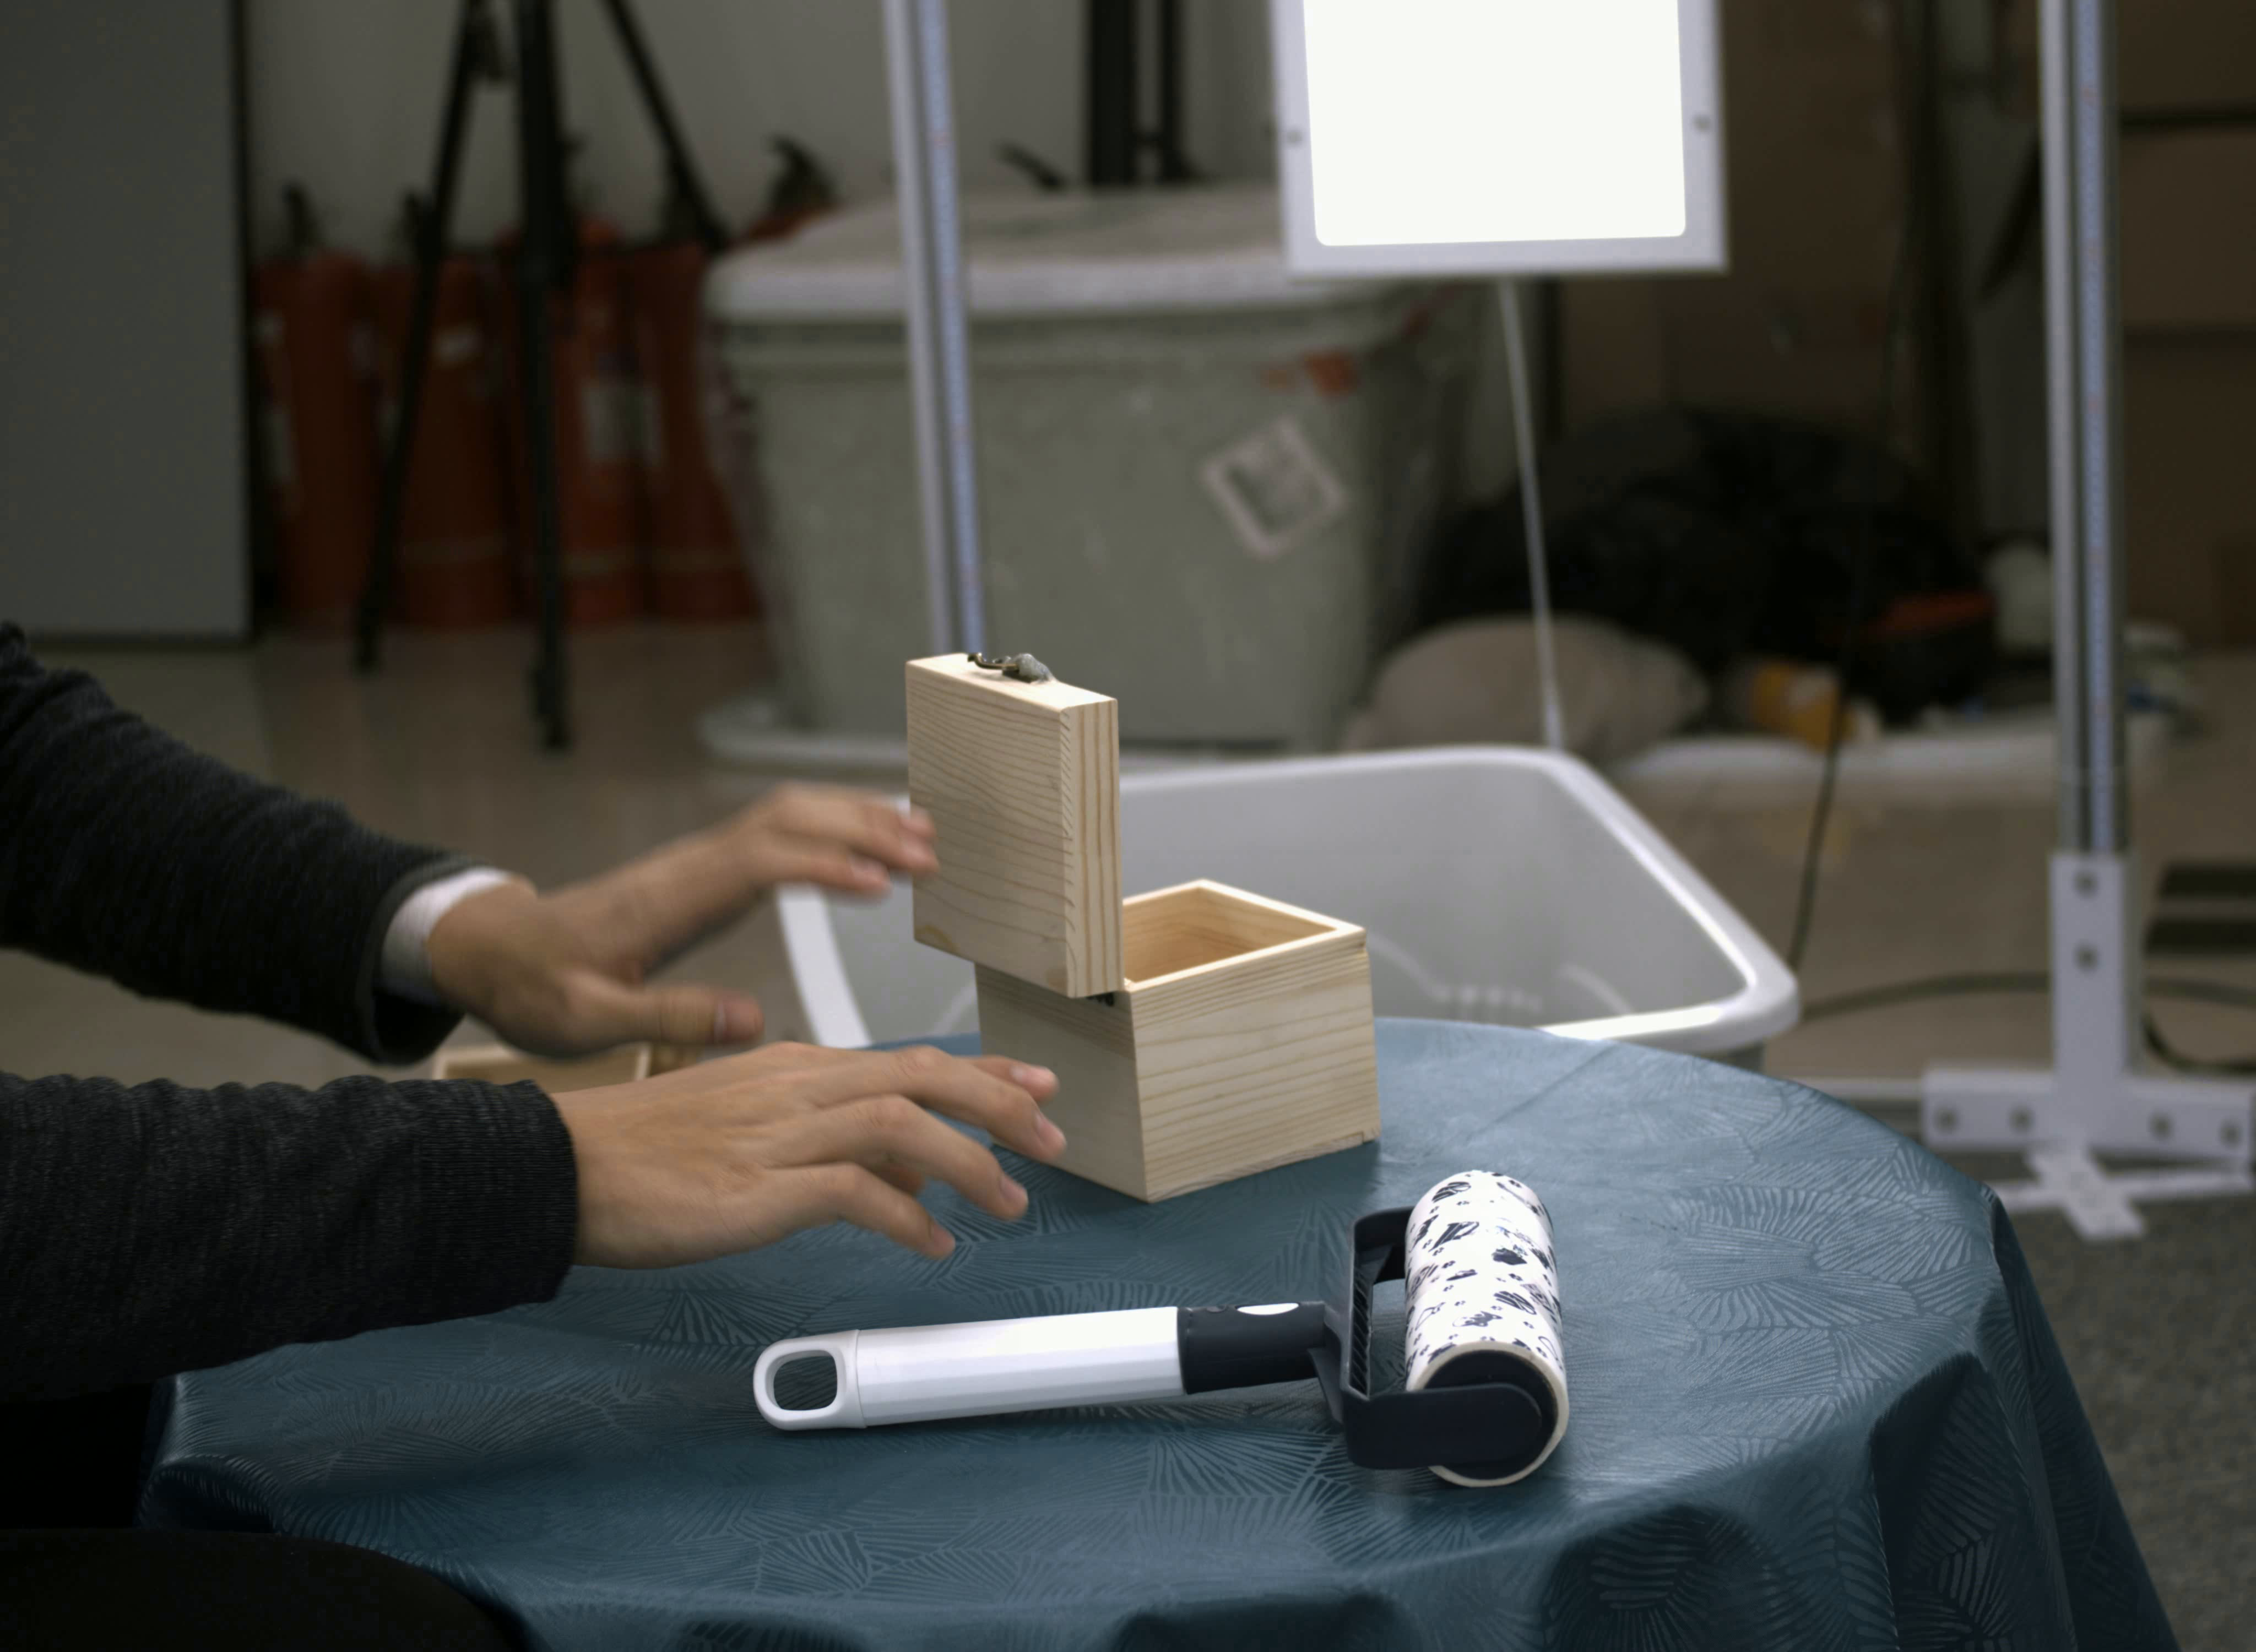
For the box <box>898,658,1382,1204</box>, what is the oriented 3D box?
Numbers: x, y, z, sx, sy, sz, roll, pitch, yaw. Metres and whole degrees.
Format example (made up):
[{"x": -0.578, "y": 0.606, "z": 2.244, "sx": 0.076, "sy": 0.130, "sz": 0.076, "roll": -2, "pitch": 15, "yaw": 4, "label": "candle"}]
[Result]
[{"x": 0.006, "y": 0.026, "z": 1.923, "sx": 0.131, "sy": 0.185, "sz": 0.104, "roll": -14, "pitch": 16, "yaw": -31, "label": "box"}]

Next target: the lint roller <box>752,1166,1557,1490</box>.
[{"x": 0.007, "y": 0.158, "z": 1.674, "sx": 0.247, "sy": 0.050, "sz": 0.175, "roll": -5, "pitch": 15, "yaw": 5, "label": "lint roller"}]
